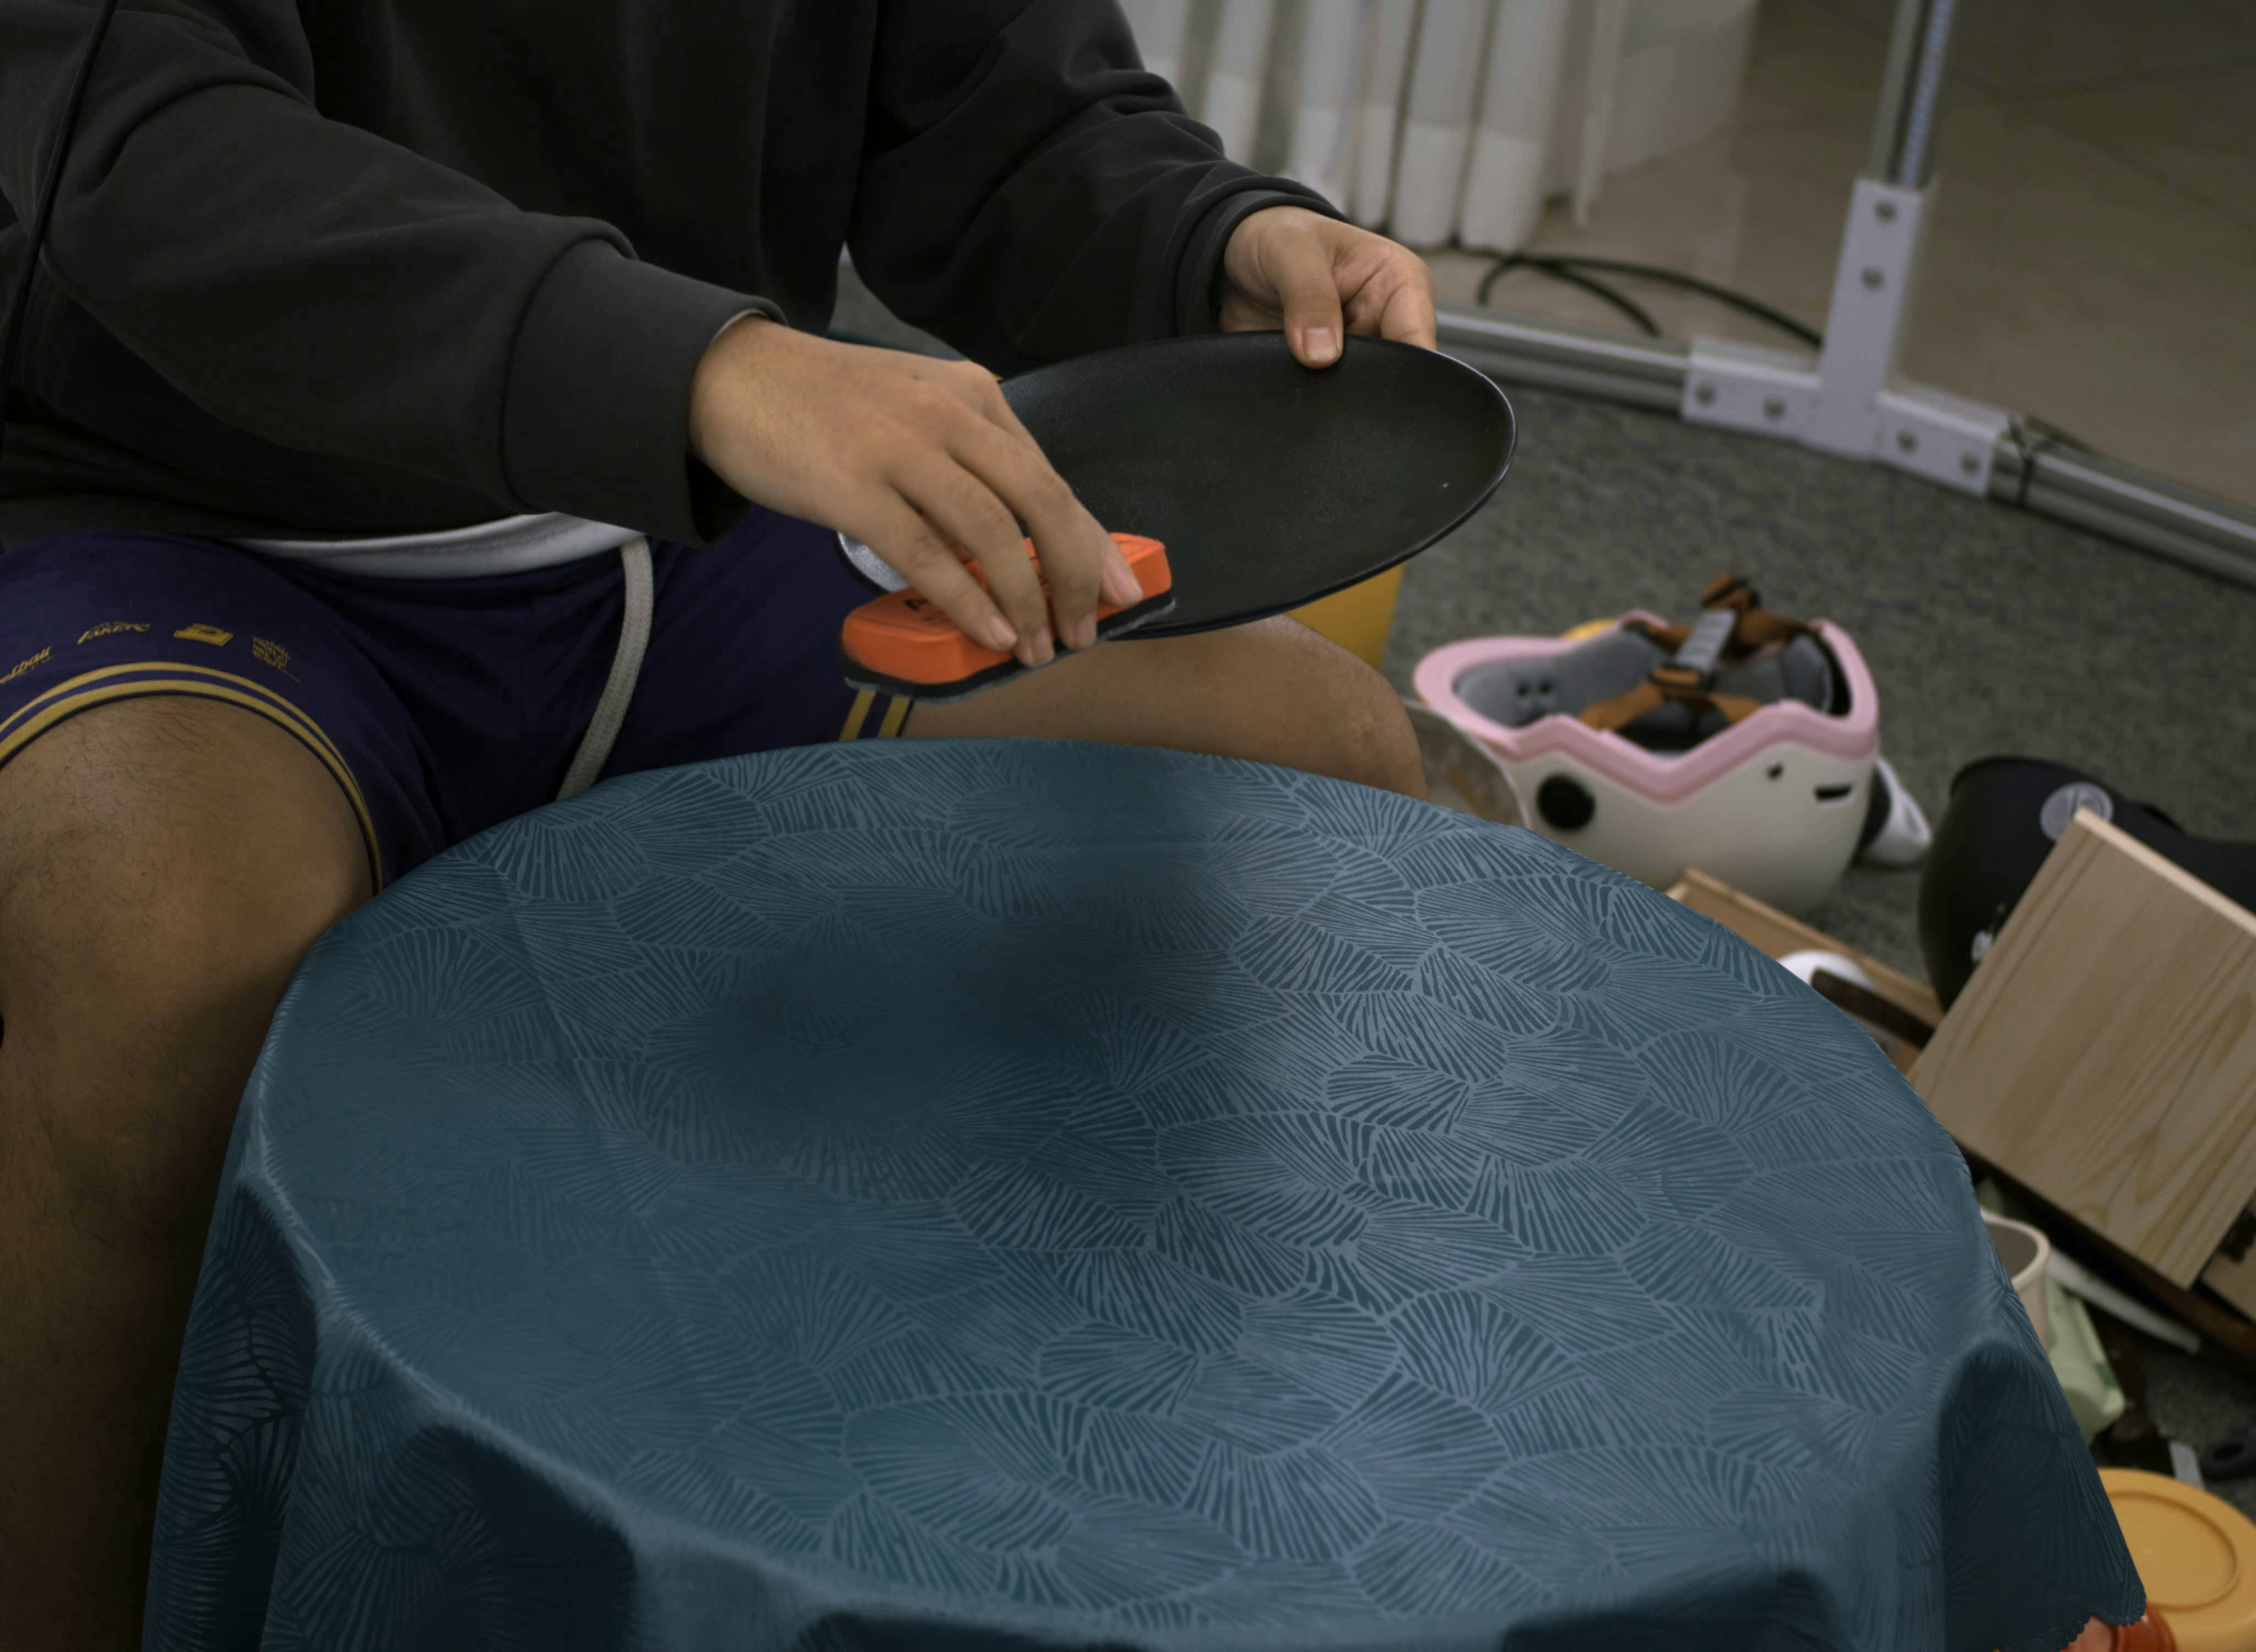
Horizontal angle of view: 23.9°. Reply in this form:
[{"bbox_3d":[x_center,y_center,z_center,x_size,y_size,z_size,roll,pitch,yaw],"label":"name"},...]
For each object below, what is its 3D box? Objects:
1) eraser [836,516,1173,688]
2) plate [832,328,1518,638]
[{"bbox_3d":[-0.040,-0.074,1.744,0.107,0.023,0.059,-23,25,-38],"label":"eraser"},{"bbox_3d":[0.017,-0.116,1.864,0.244,0.023,0.246,-8,27,4],"label":"plate"}]
